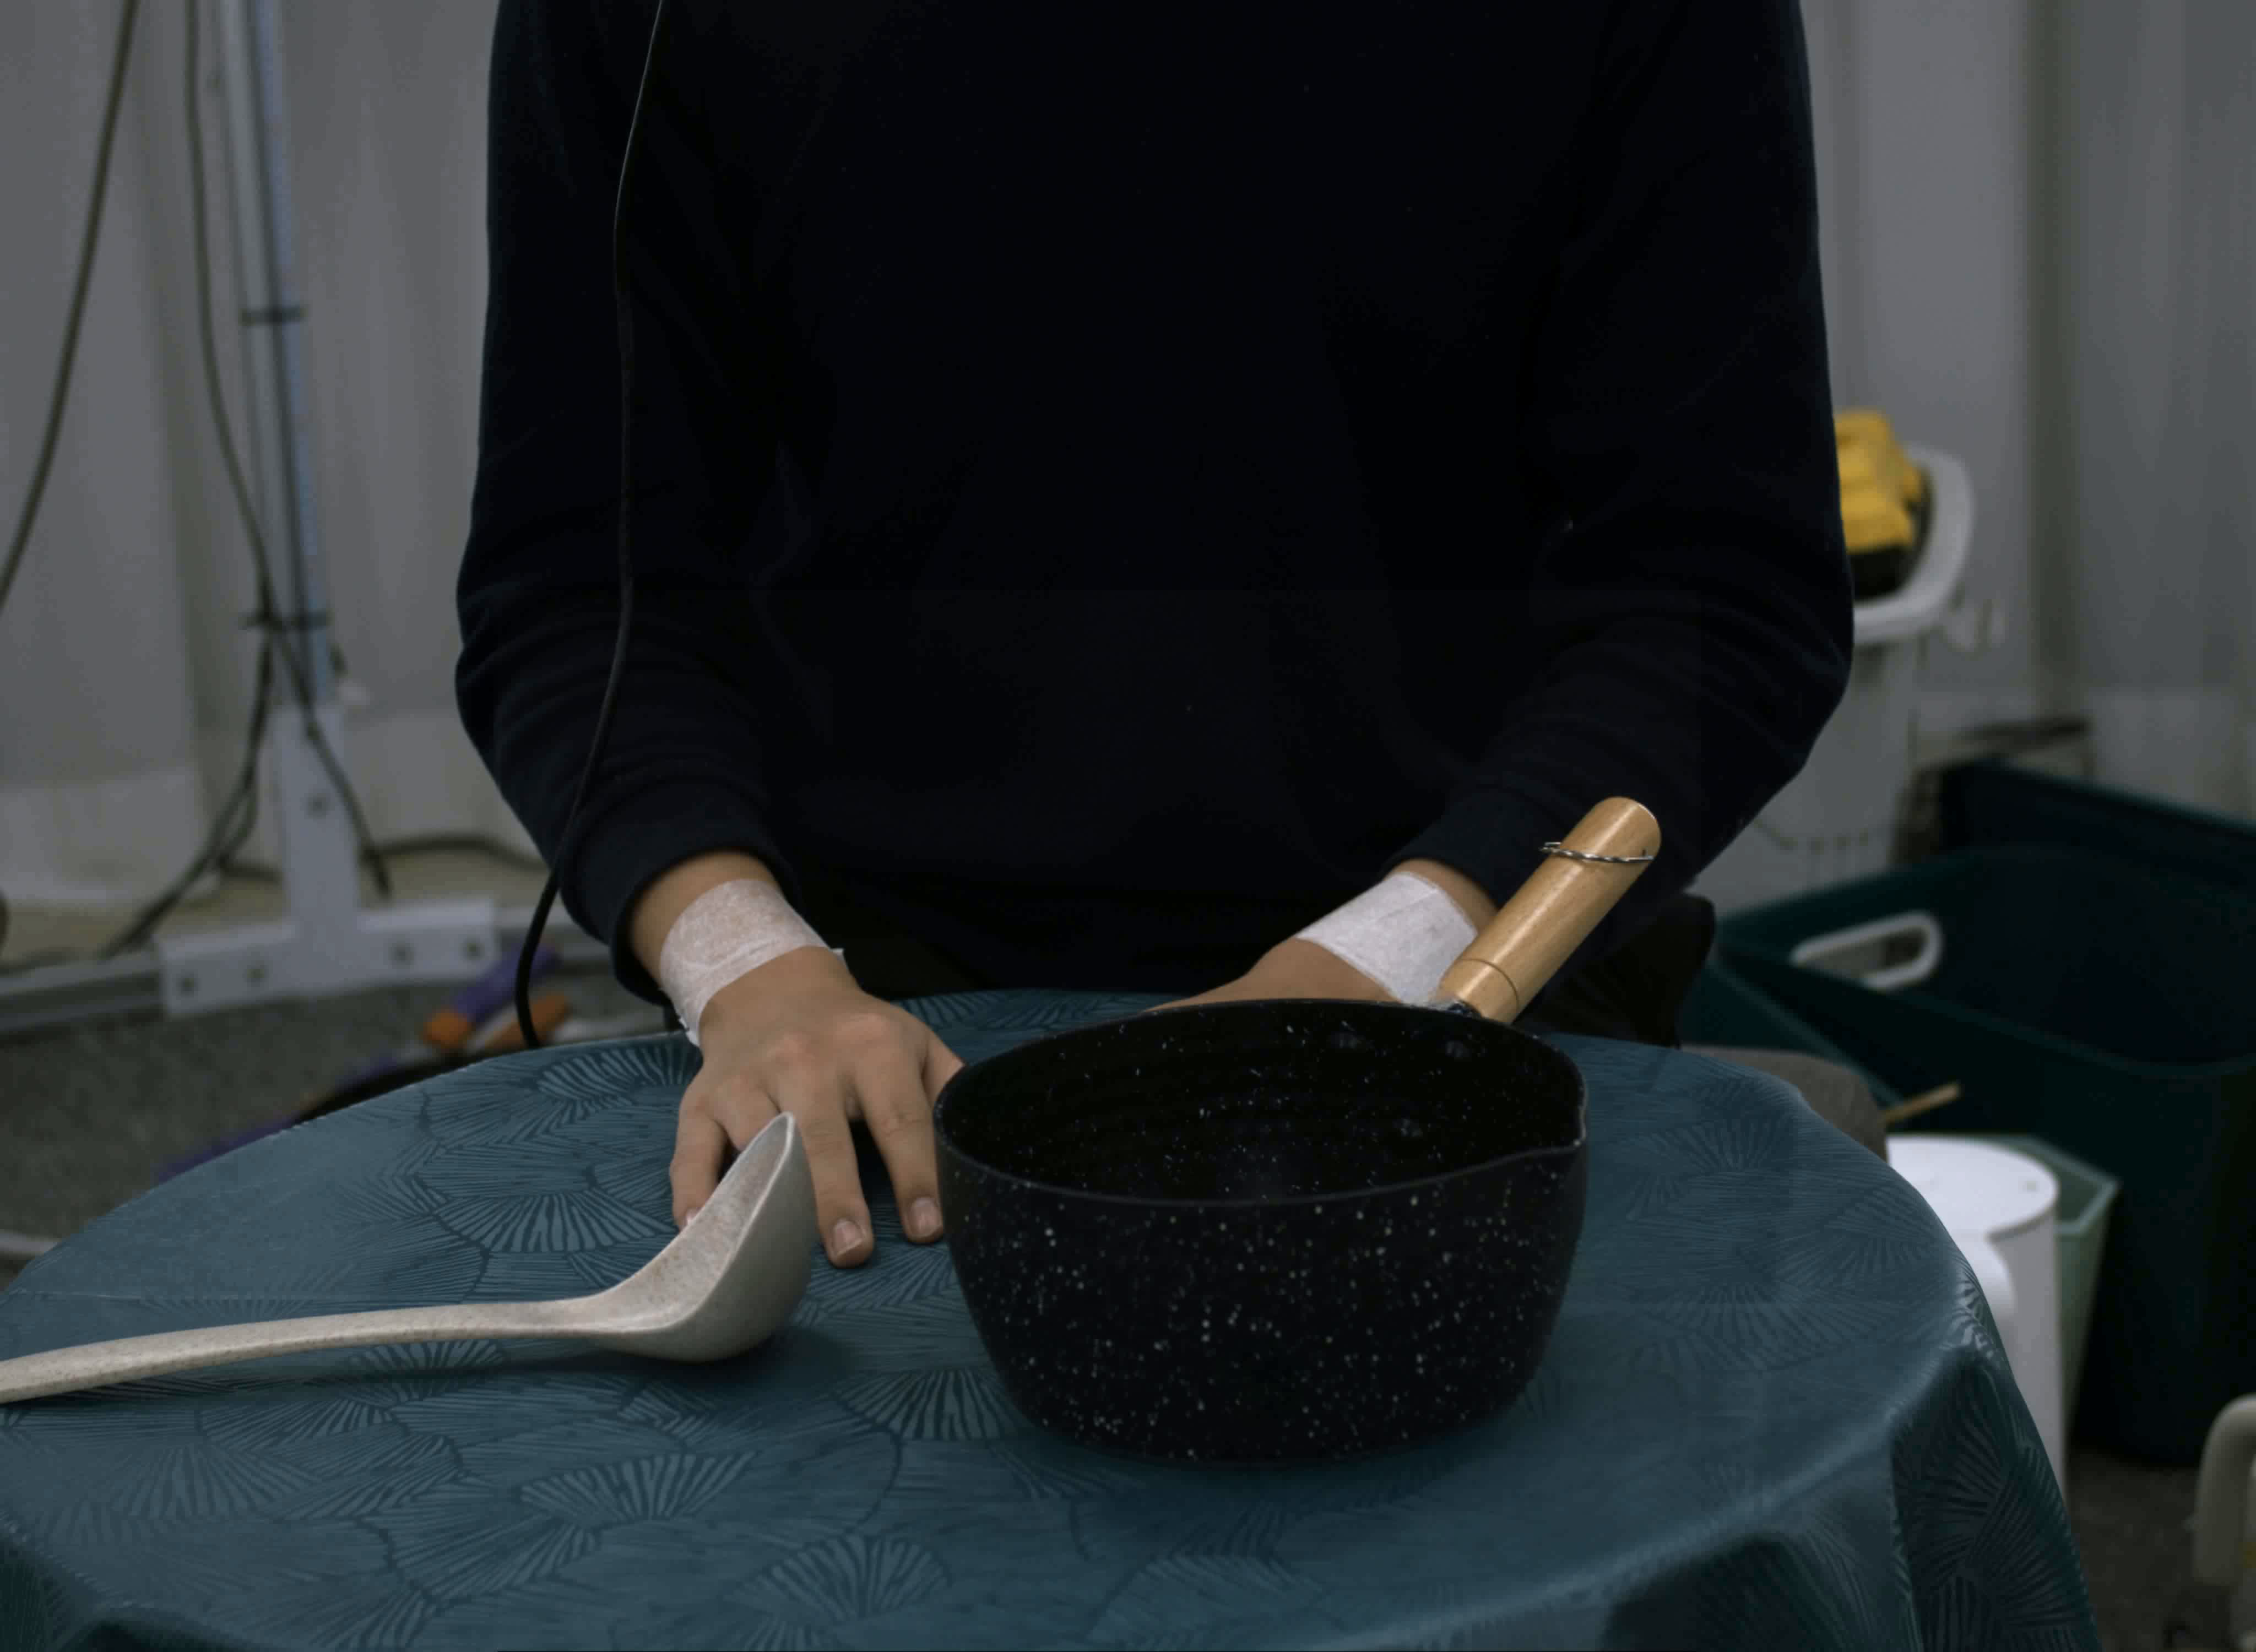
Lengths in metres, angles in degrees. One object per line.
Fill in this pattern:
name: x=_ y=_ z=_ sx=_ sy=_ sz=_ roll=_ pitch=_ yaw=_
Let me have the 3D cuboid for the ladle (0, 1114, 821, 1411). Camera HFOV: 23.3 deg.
ladle: x=-0.225 y=0.129 z=1.581 sx=0.274 sy=0.069 sz=0.090 roll=-5 pitch=21 yaw=-2

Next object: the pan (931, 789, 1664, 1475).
pan: x=0.076 y=0.084 z=1.606 sx=0.208 sy=0.108 sz=0.343 roll=4 pitch=18 yaw=29
